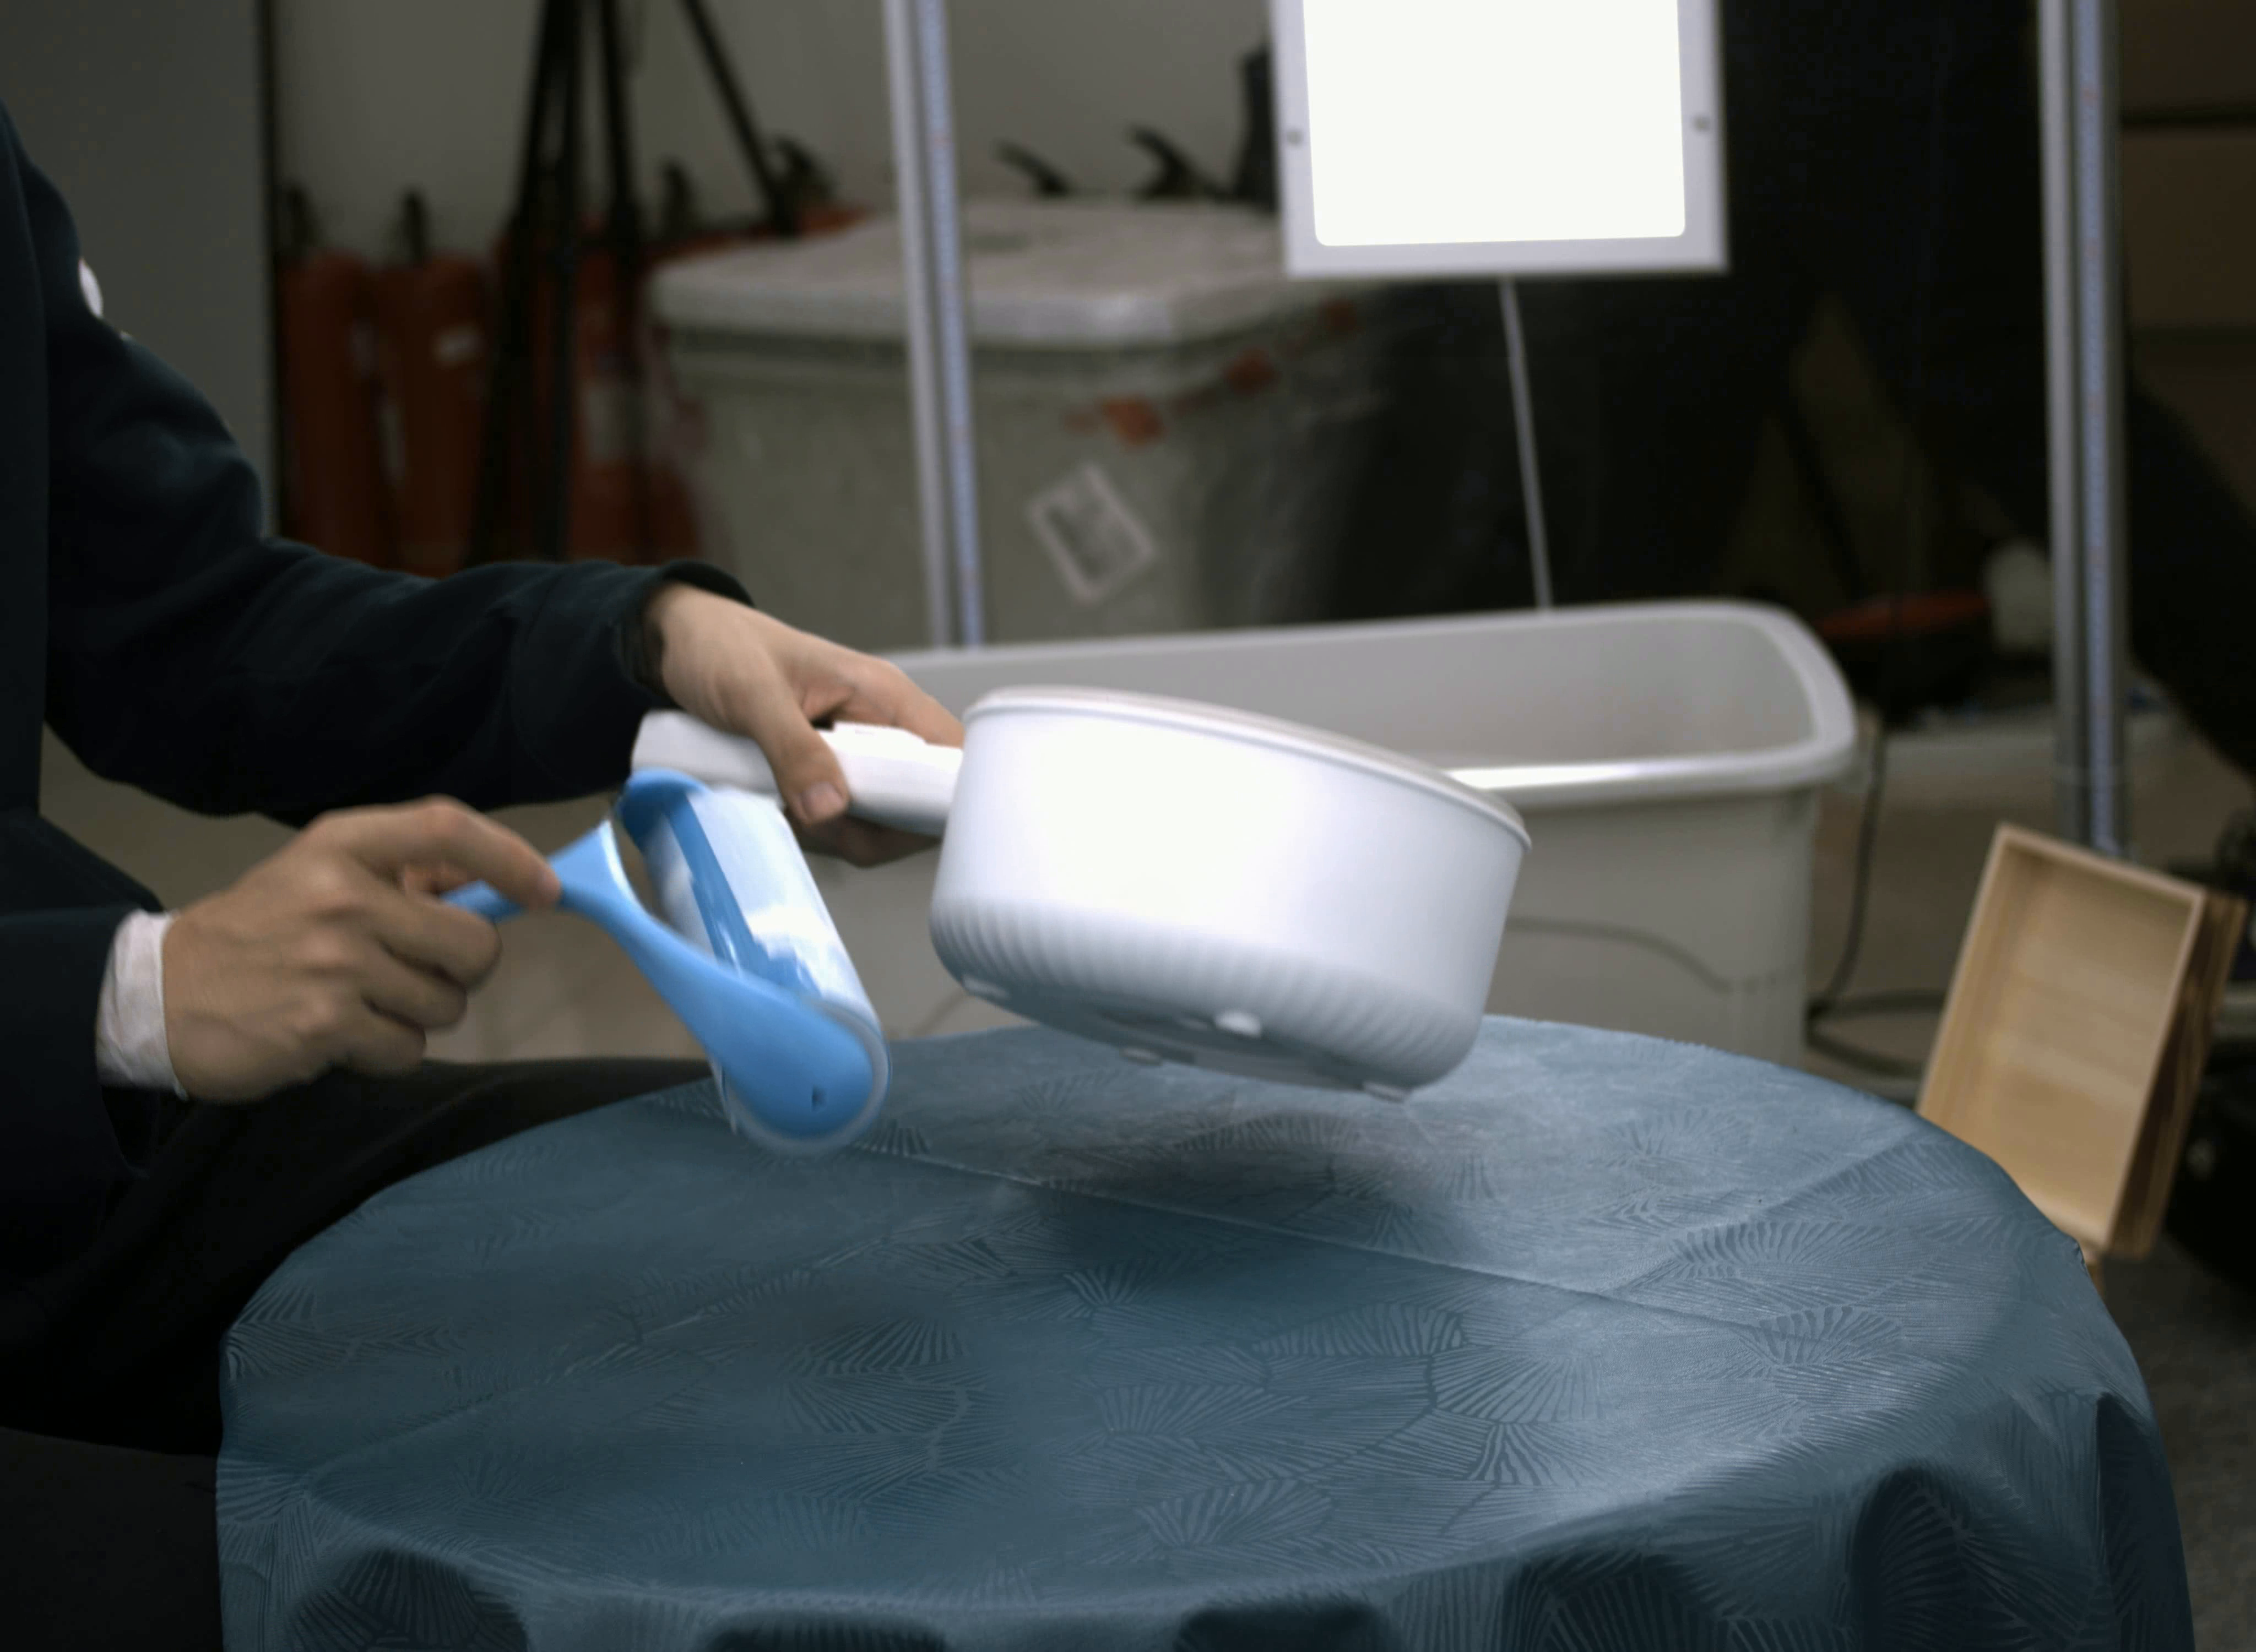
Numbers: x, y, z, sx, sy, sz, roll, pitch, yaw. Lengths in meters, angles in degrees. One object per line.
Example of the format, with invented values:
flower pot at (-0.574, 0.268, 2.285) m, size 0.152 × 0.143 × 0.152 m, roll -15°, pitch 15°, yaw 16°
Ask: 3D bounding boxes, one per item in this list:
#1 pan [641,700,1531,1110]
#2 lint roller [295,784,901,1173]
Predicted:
pan at (-0.031, 0.025, 1.934) m, size 0.362 × 0.102 × 0.197 m, roll 6°, pitch -10°, yaw 36°
lint roller at (-0.173, 0.048, 1.753) m, size 0.178 × 0.068 × 0.230 m, roll 0°, pitch 21°, yaw -14°
